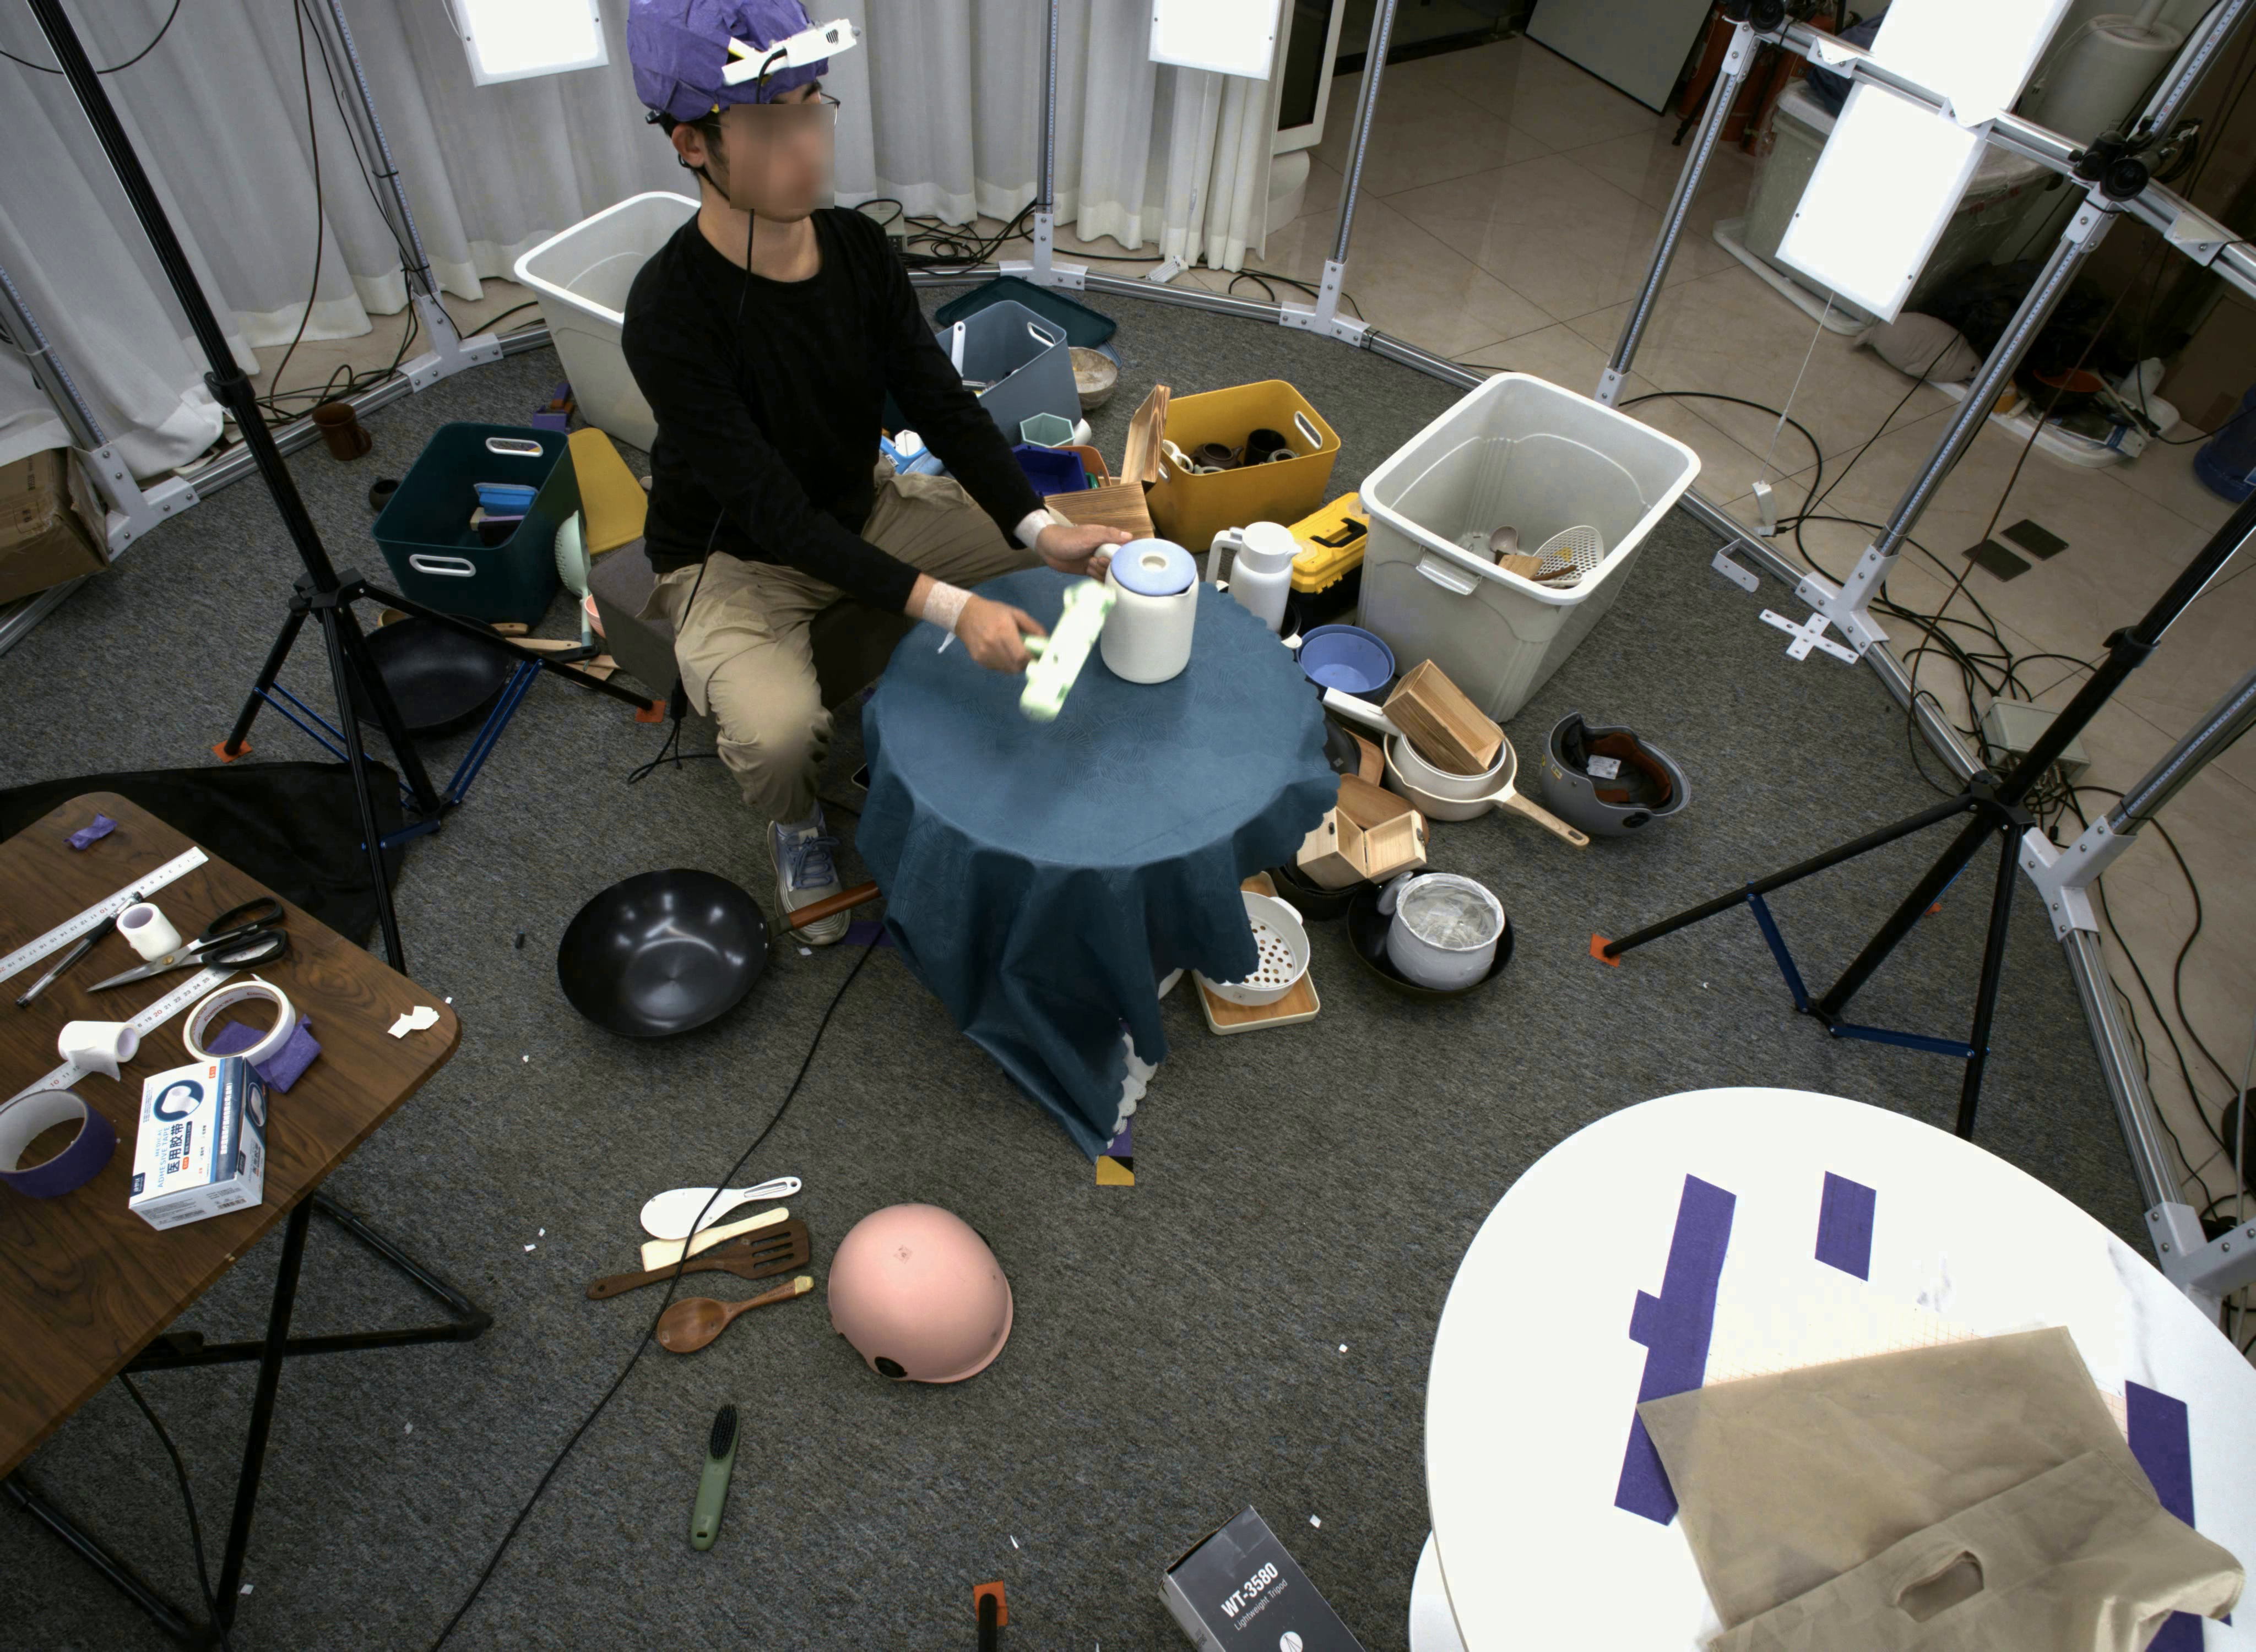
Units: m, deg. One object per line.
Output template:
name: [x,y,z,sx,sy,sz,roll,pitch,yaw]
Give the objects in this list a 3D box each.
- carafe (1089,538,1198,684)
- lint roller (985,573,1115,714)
carafe: [0.013,-0.318,1.836,0.133,0.178,0.194,-33,57,-29]
lint roller: [-0.128,-0.253,1.709,0.184,0.080,0.201,11,66,29]
